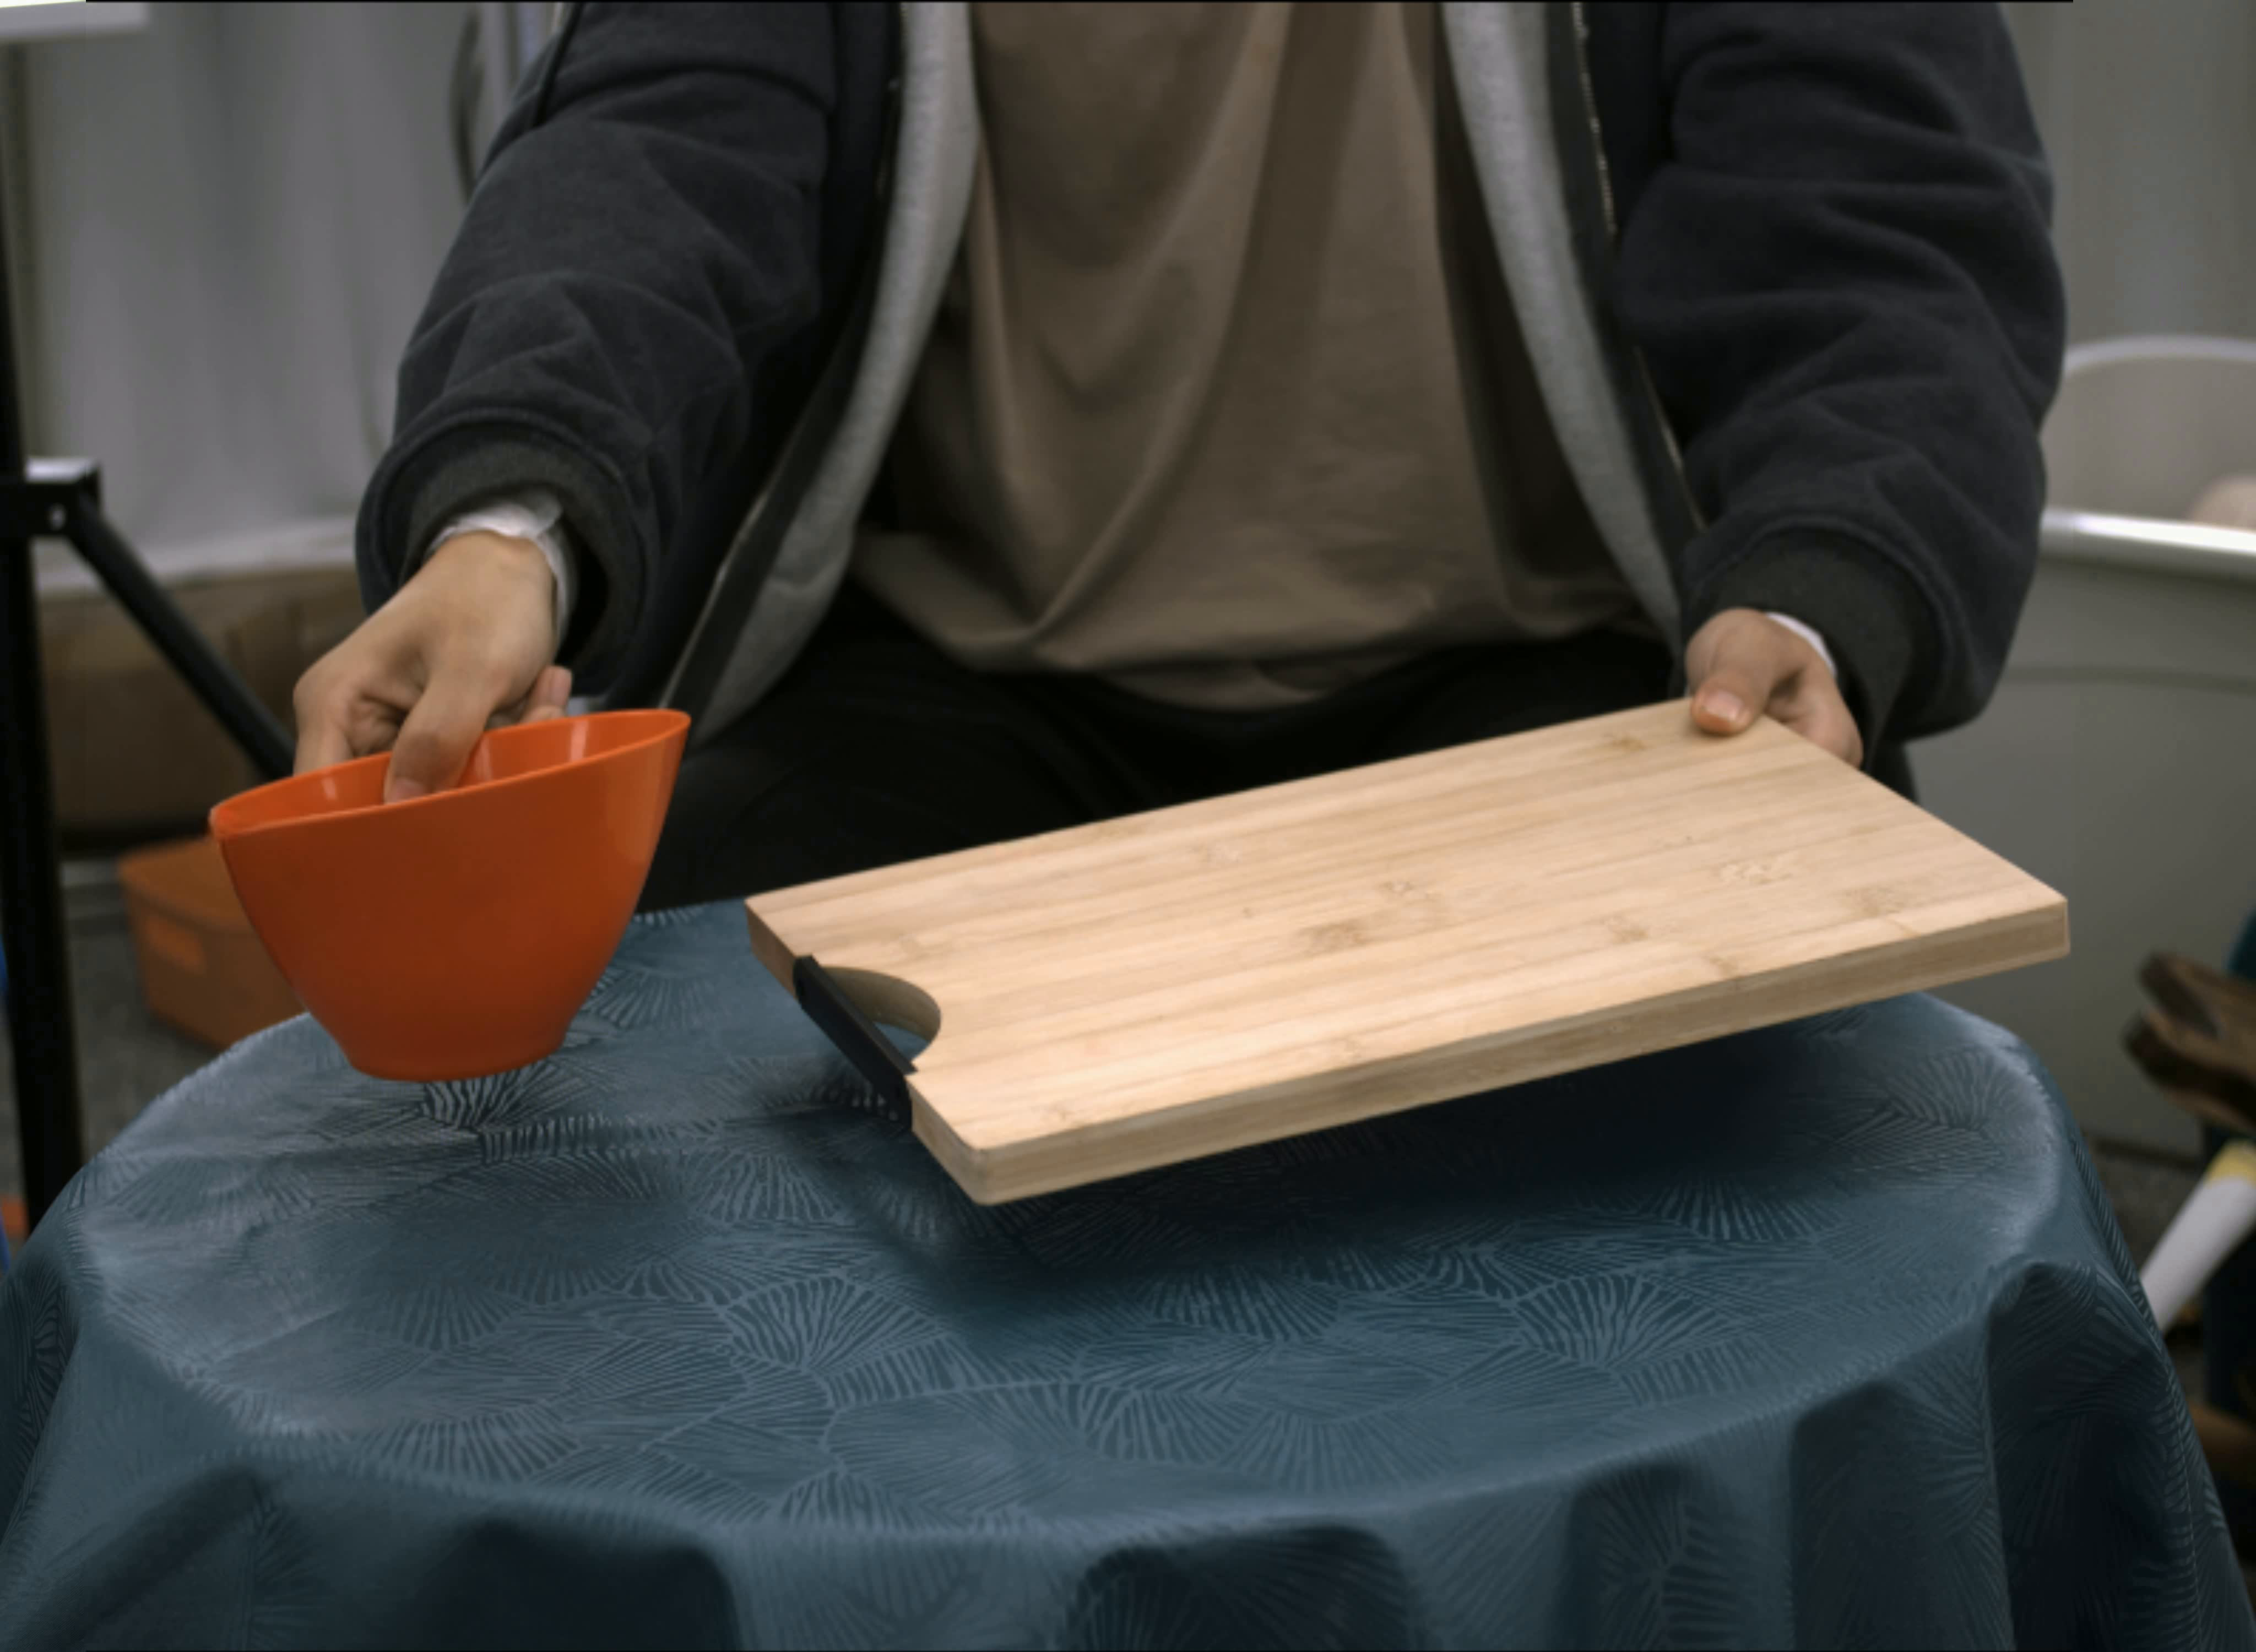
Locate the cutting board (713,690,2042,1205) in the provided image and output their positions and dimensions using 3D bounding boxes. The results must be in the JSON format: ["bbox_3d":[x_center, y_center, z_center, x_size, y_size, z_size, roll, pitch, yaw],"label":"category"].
[{"bbox_3d":[0.071,0.031,1.609,0.343,0.023,0.255,-12,19,-15],"label":"cutting board"}]

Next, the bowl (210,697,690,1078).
[{"bbox_3d":[-0.201,0.019,1.622,0.147,0.104,0.149,-5,17,0],"label":"bowl"}]
